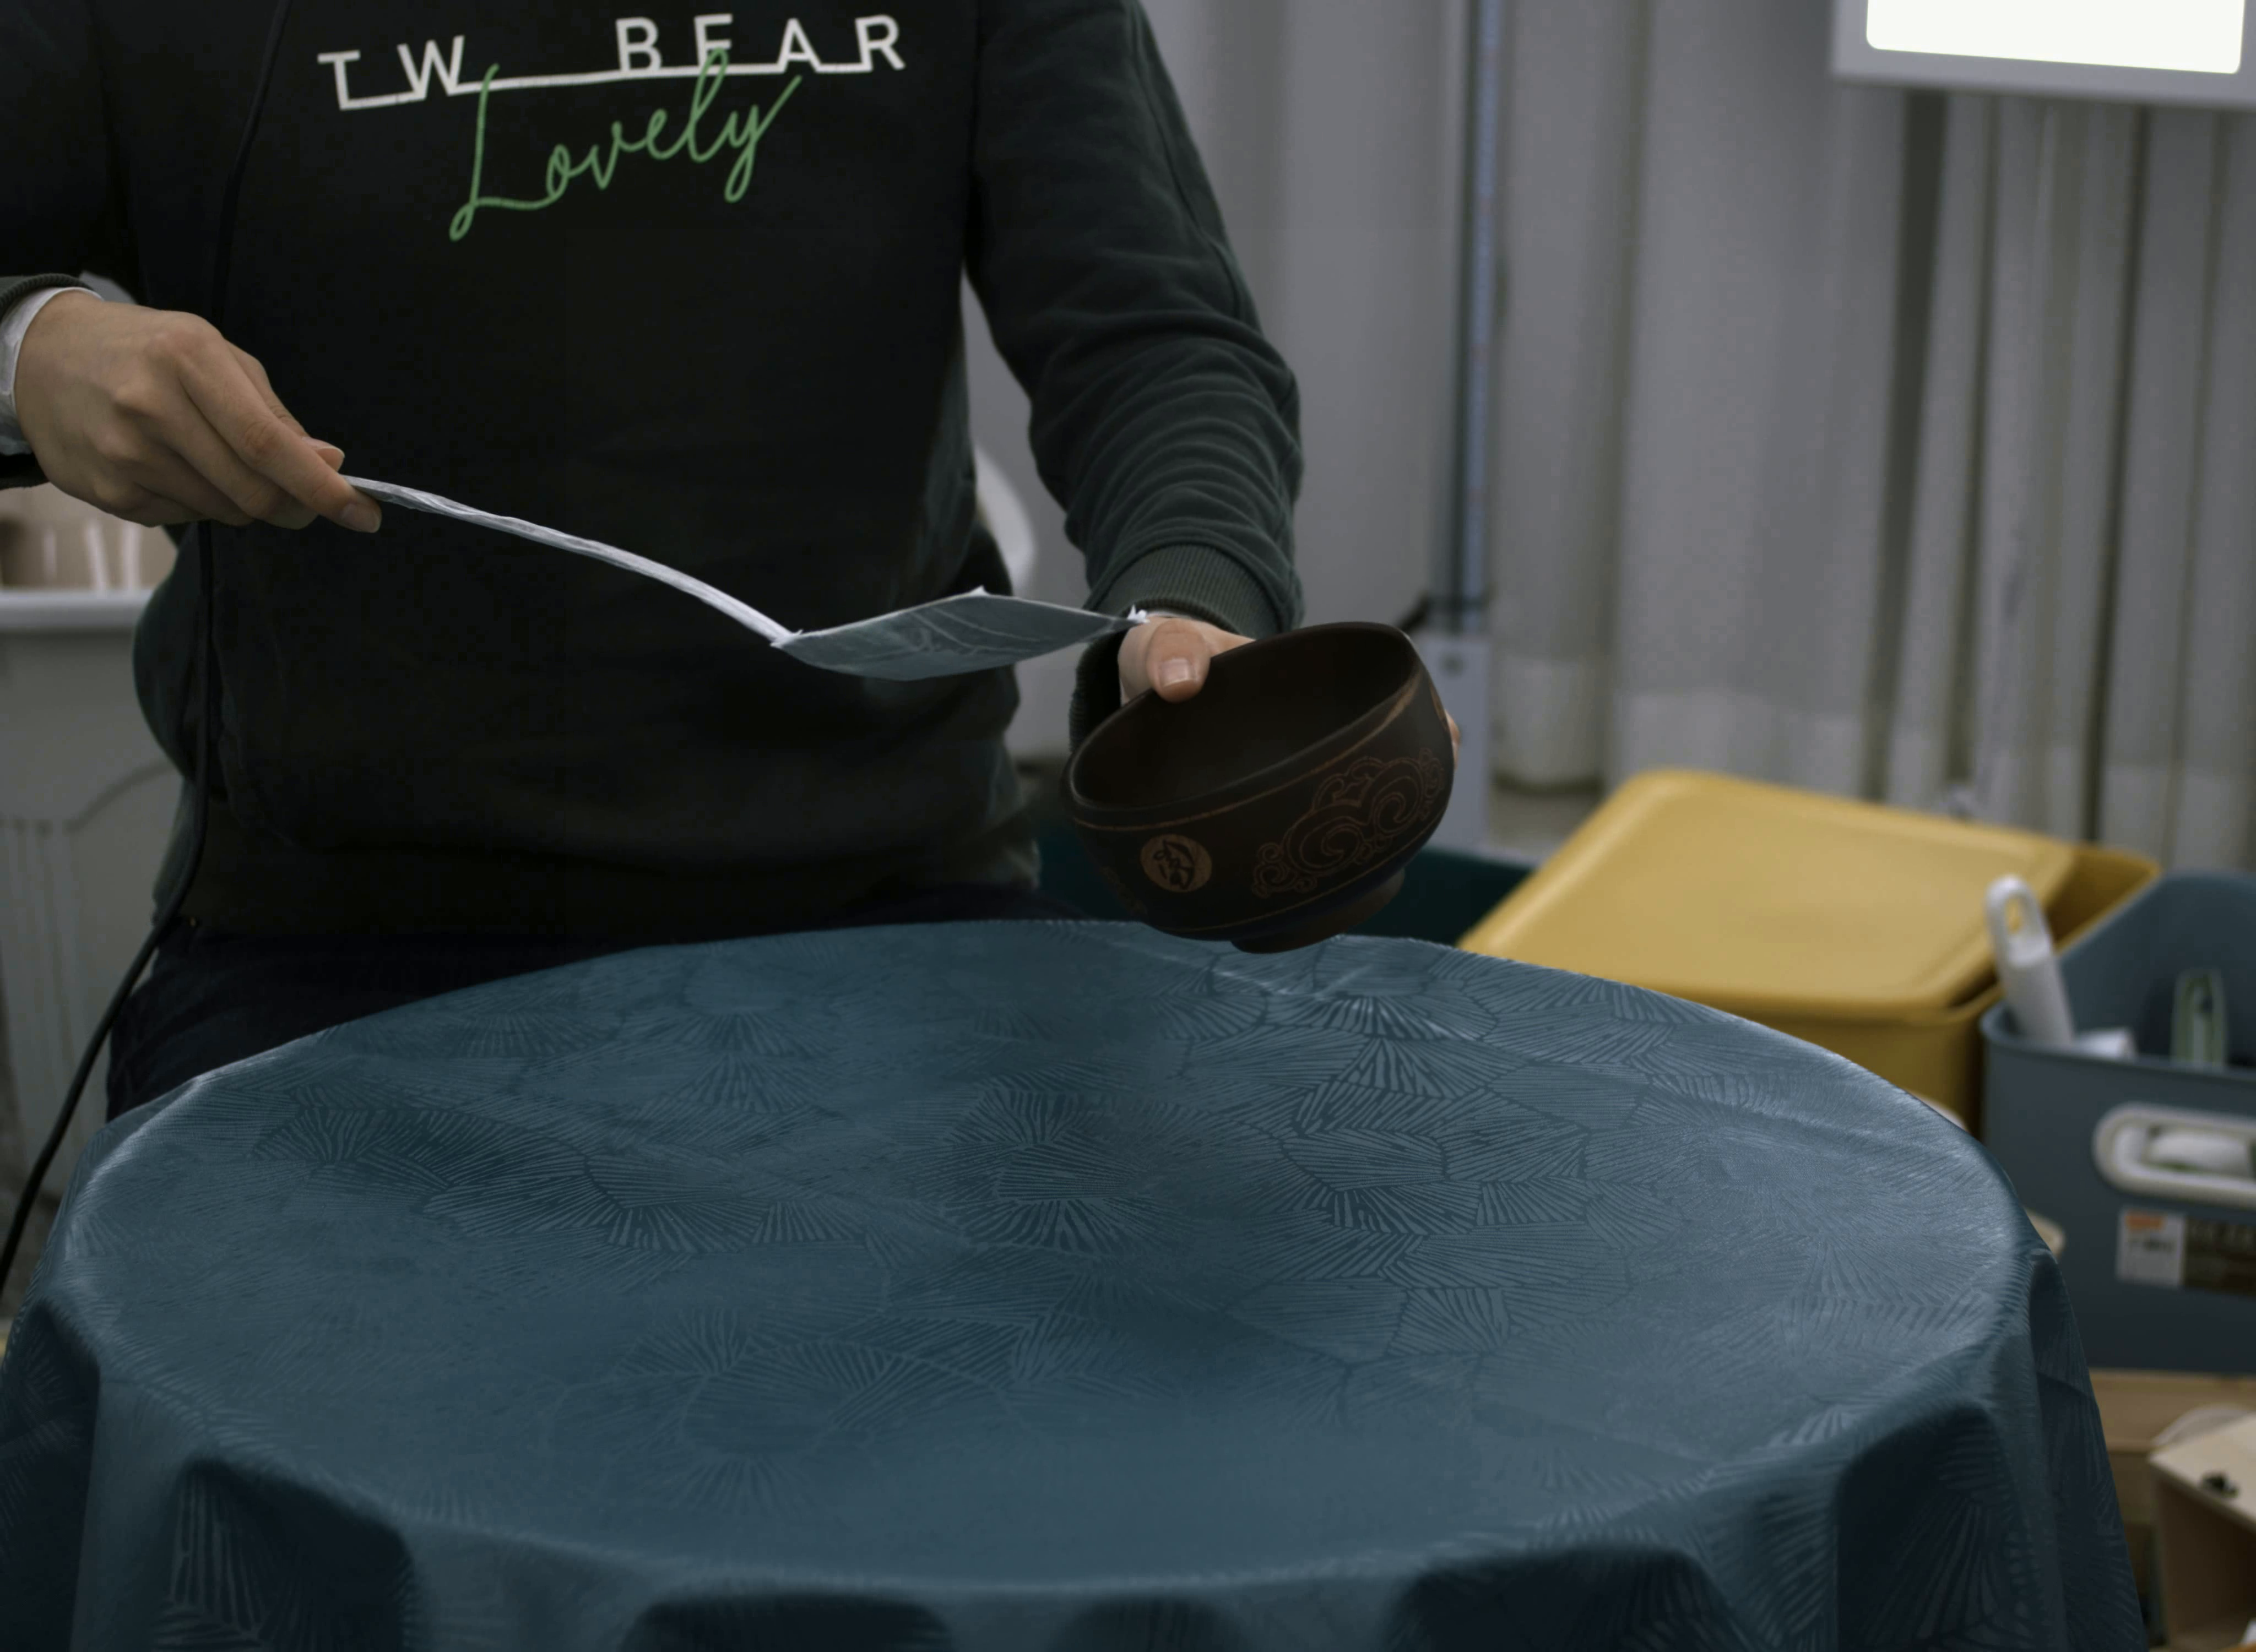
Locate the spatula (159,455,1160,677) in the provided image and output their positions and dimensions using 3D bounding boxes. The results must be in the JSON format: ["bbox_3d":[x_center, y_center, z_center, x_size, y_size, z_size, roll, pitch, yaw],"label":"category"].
[{"bbox_3d":[-0.160,-0.089,1.600,0.360,0.045,0.099,17,8,28],"label":"spatula"}]

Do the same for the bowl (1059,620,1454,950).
[{"bbox_3d":[0.044,-0.006,1.595,0.117,0.070,0.117,-19,19,8],"label":"bowl"}]
